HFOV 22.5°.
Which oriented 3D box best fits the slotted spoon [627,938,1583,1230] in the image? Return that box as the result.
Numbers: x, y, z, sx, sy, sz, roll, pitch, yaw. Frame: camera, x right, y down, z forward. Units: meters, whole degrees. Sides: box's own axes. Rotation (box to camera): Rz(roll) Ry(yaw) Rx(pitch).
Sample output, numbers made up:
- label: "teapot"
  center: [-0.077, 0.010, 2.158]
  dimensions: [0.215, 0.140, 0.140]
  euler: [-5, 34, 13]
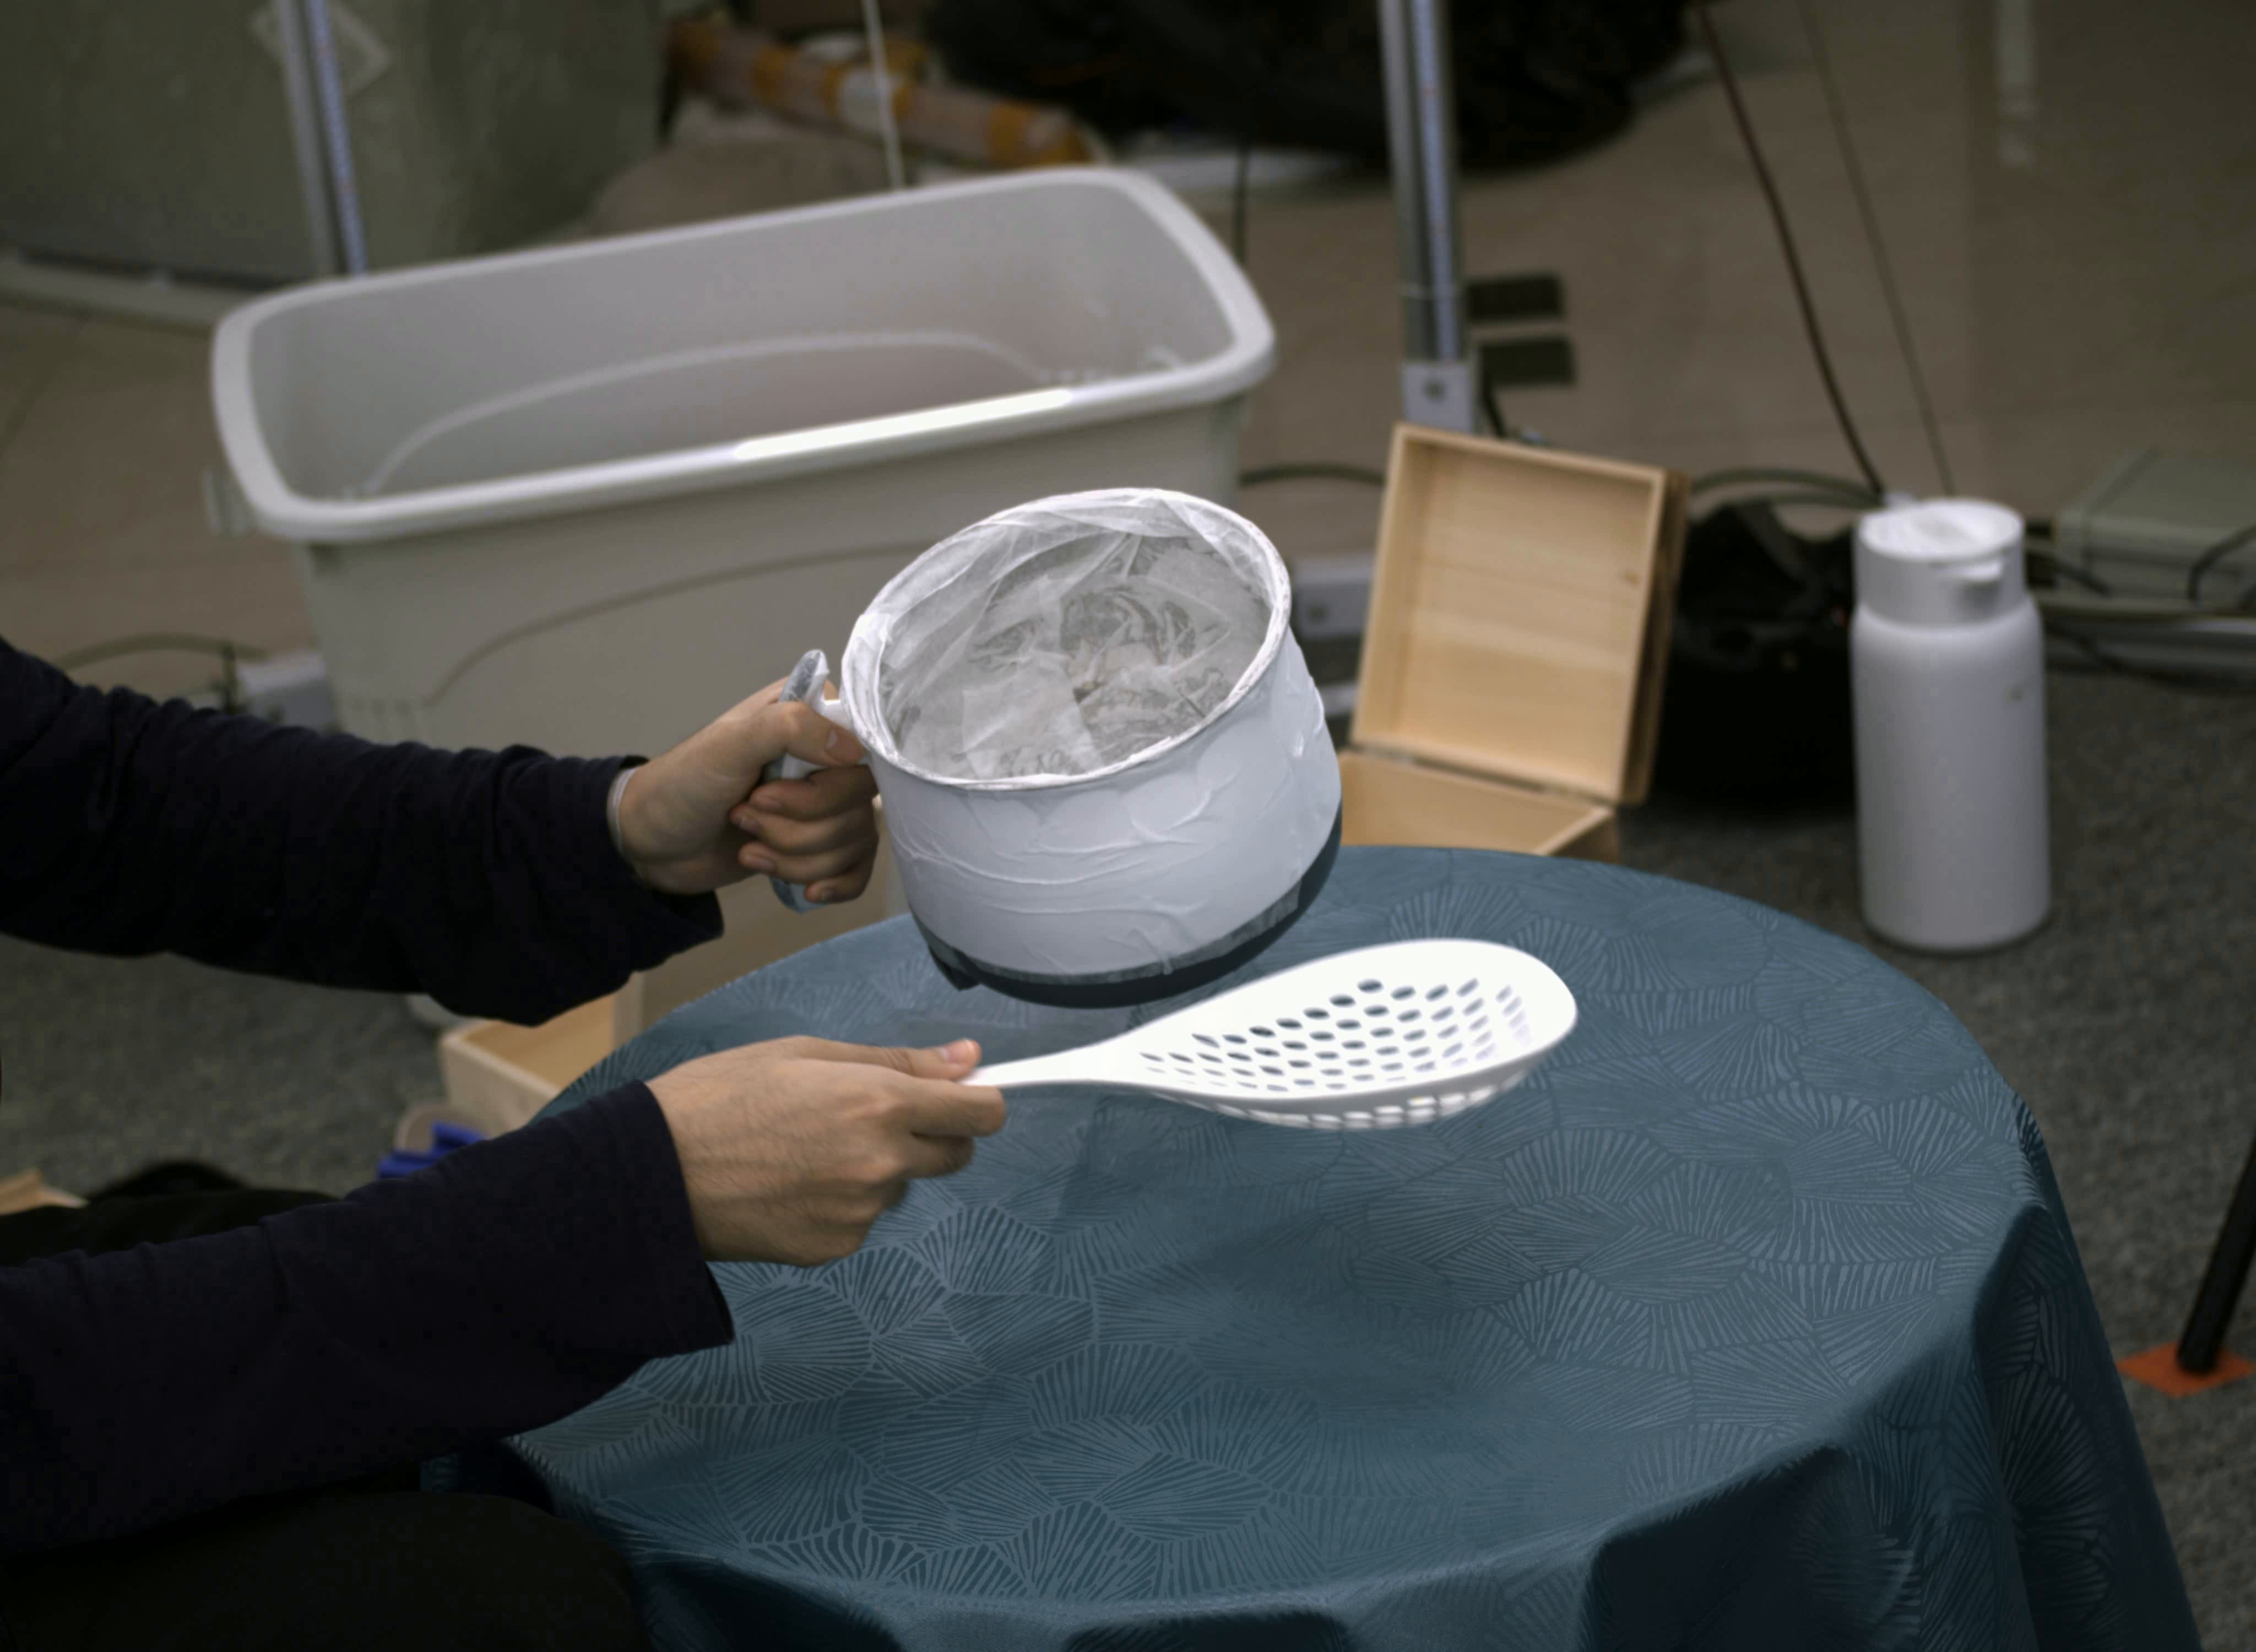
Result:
- label: "slotted spoon"
  center: [-0.009, 0.098, 2.029]
  dimensions: [0.347, 0.051, 0.135]
  euler: [-6, 19, -6]

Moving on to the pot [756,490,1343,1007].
- label: "pot"
  center: [-0.037, -0.023, 2.199]
  dimensions: [0.233, 0.139, 0.175]
  euler: [-7, 39, 11]
